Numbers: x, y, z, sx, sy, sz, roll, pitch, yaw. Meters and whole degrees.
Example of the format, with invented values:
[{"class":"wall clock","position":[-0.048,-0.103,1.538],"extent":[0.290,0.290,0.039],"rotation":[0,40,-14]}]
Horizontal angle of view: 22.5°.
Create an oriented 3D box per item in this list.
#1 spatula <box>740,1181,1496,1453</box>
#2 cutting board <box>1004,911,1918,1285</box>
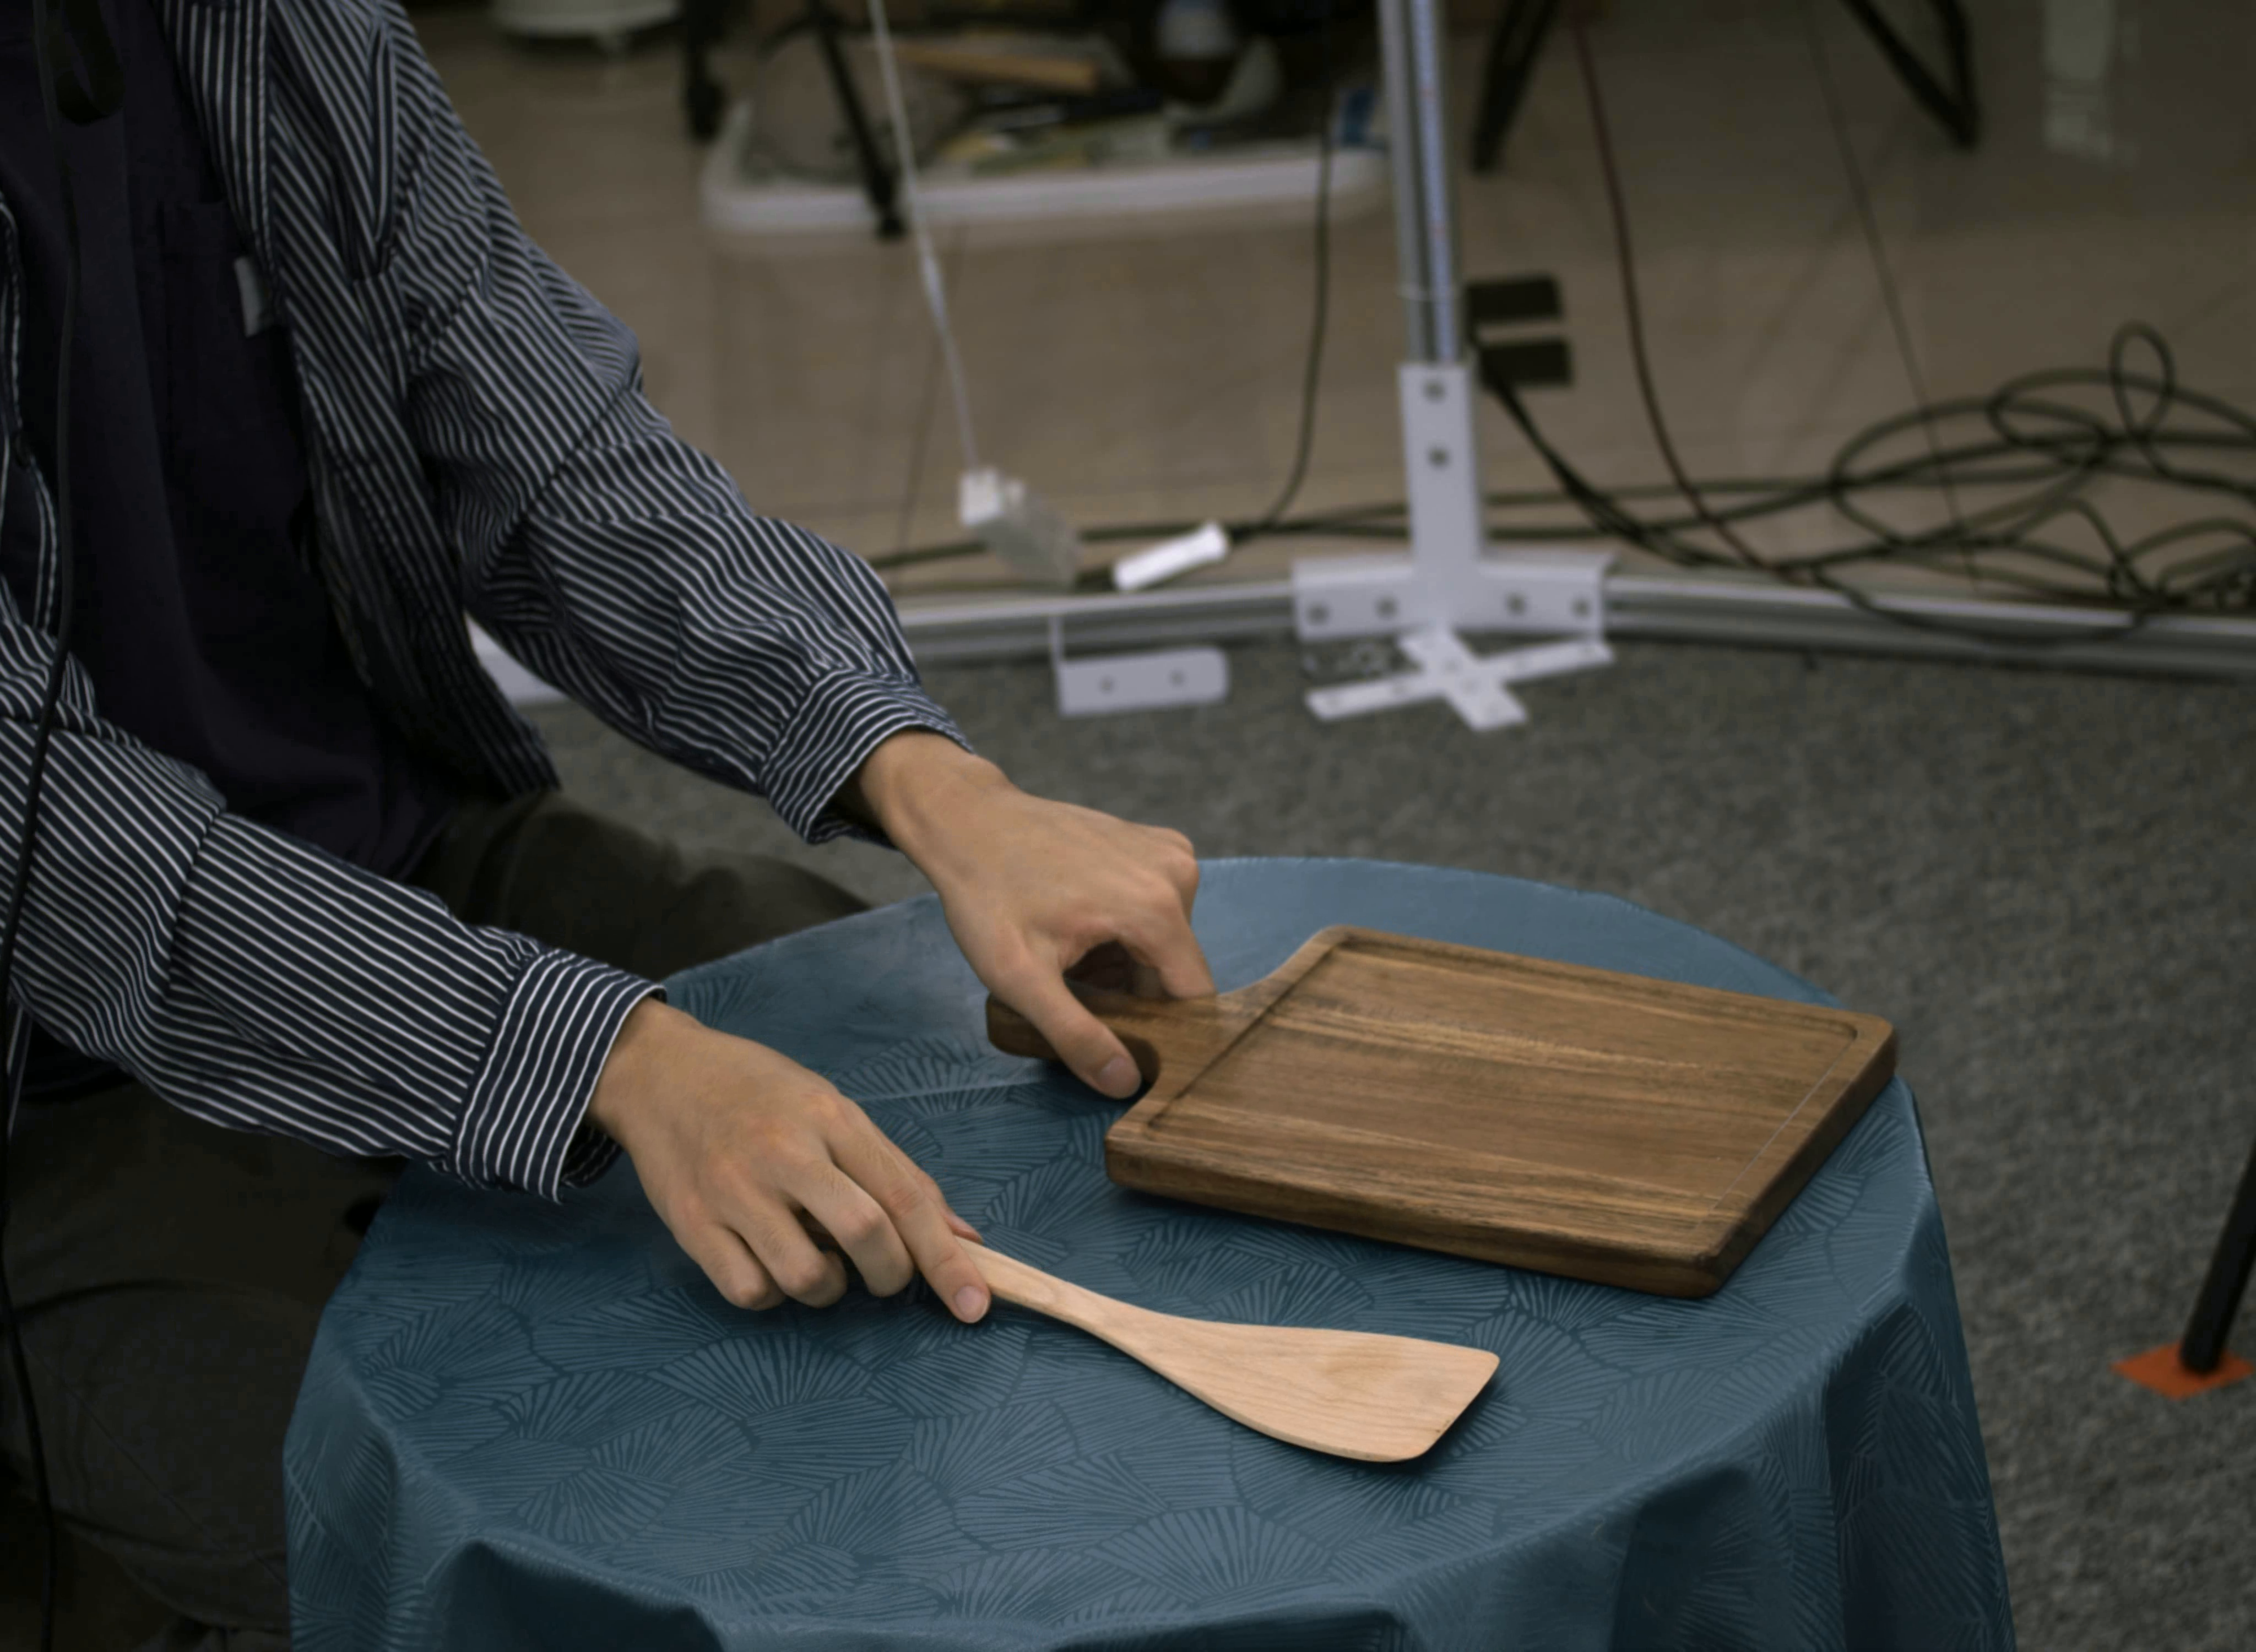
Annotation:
[{"class":"spatula","position":[-0.011,0.171,2.061],"extent":[0.325,0.017,0.079],"rotation":[15,31,33]},{"class":"cutting board","position":[0.108,0.092,2.187],"extent":[0.350,0.023,0.198],"rotation":[10,30,28]}]
